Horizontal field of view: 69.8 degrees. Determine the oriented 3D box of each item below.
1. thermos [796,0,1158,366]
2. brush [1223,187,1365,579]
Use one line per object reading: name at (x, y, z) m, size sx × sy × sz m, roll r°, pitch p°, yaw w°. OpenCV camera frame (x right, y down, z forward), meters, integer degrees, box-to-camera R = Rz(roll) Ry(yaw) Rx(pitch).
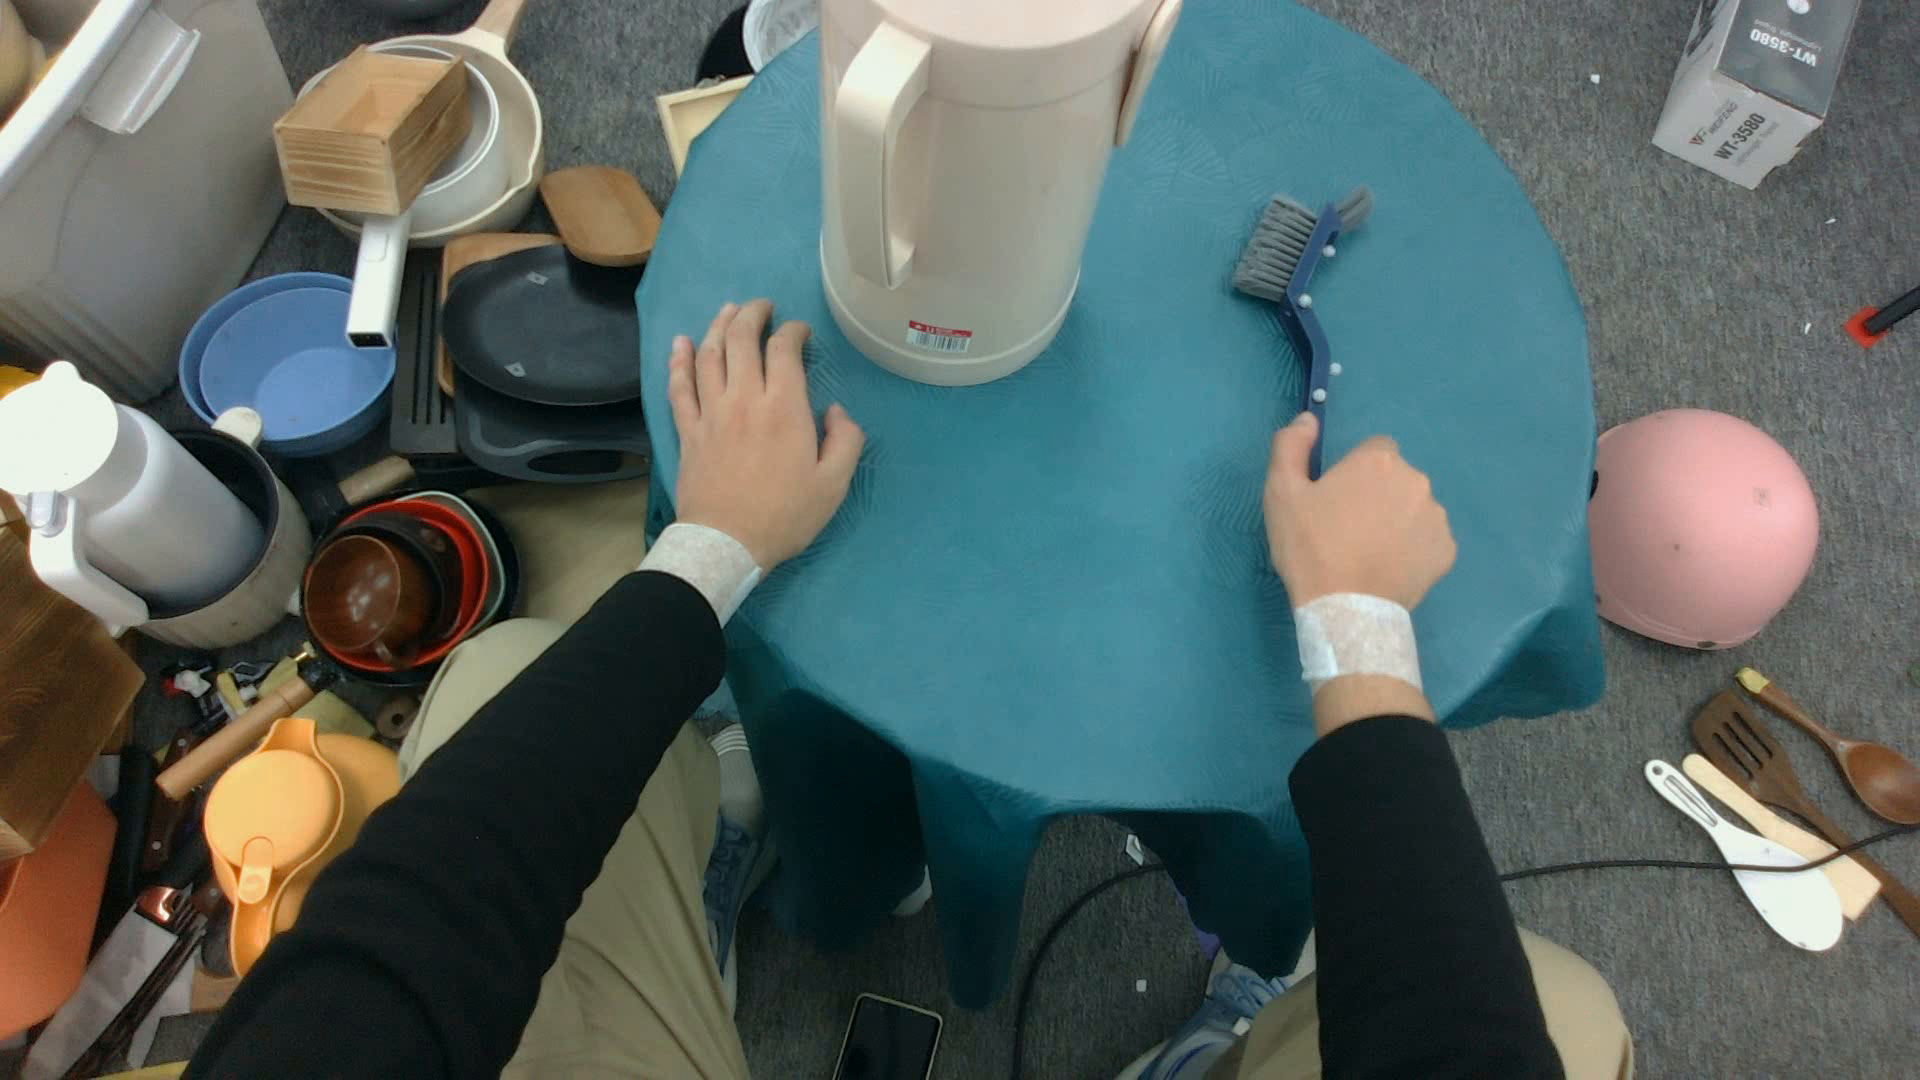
thermos at (-0.009, -0.236, 0.674) m, size 0.175 × 0.405 × 0.208 m, roll 29°, pitch 69°, yaw 3°
brush at (0.213, -0.105, 0.843) m, size 0.096 × 0.033 × 0.274 m, roll 3°, pitch 67°, yaw -4°
